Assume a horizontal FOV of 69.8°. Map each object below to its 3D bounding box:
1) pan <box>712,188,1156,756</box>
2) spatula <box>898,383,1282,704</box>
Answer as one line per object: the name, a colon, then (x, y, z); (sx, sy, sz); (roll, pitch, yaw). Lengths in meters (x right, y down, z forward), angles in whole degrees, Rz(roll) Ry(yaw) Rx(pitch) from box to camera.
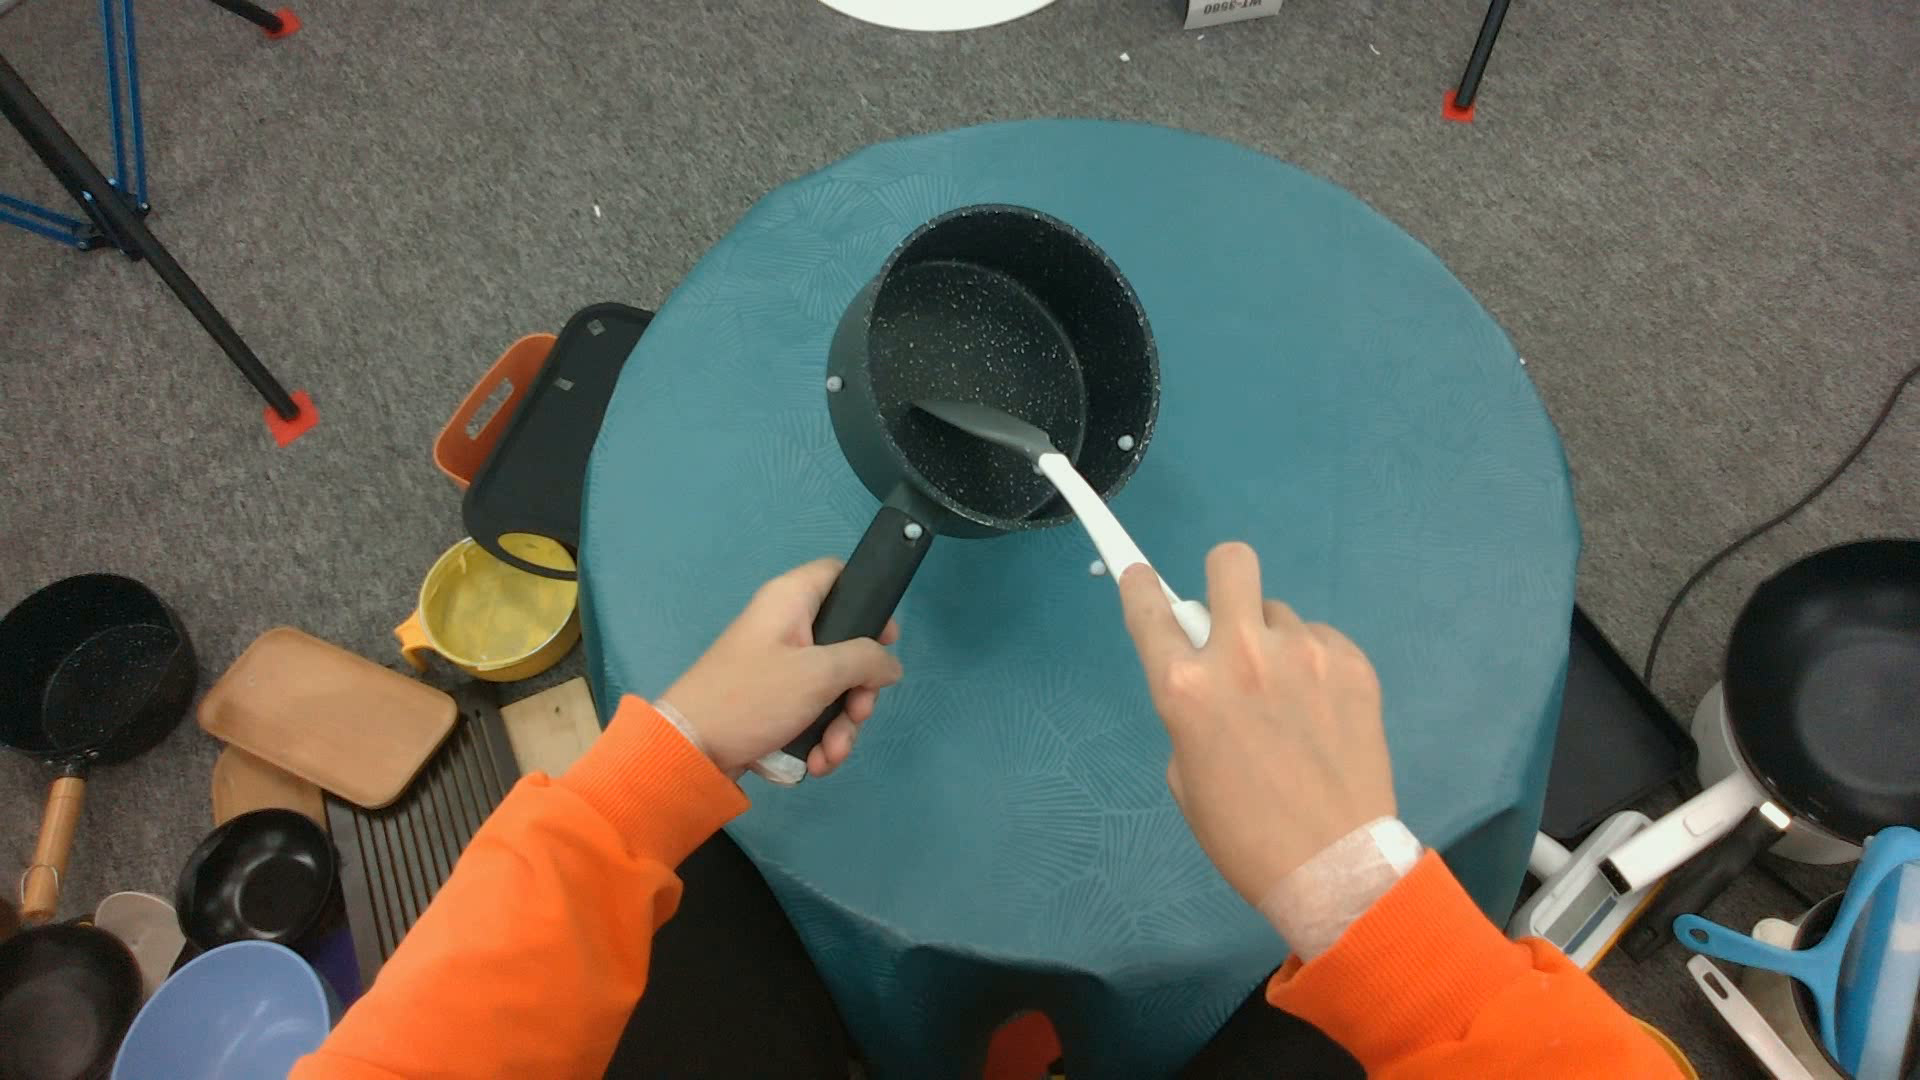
pan: (-0.027, -0.031, 0.708); (0.172, 0.086, 0.330); (38, 68, -13)
spatula: (0.054, -0.019, 0.659); (0.059, 0.032, 0.288); (-3, 32, -30)
